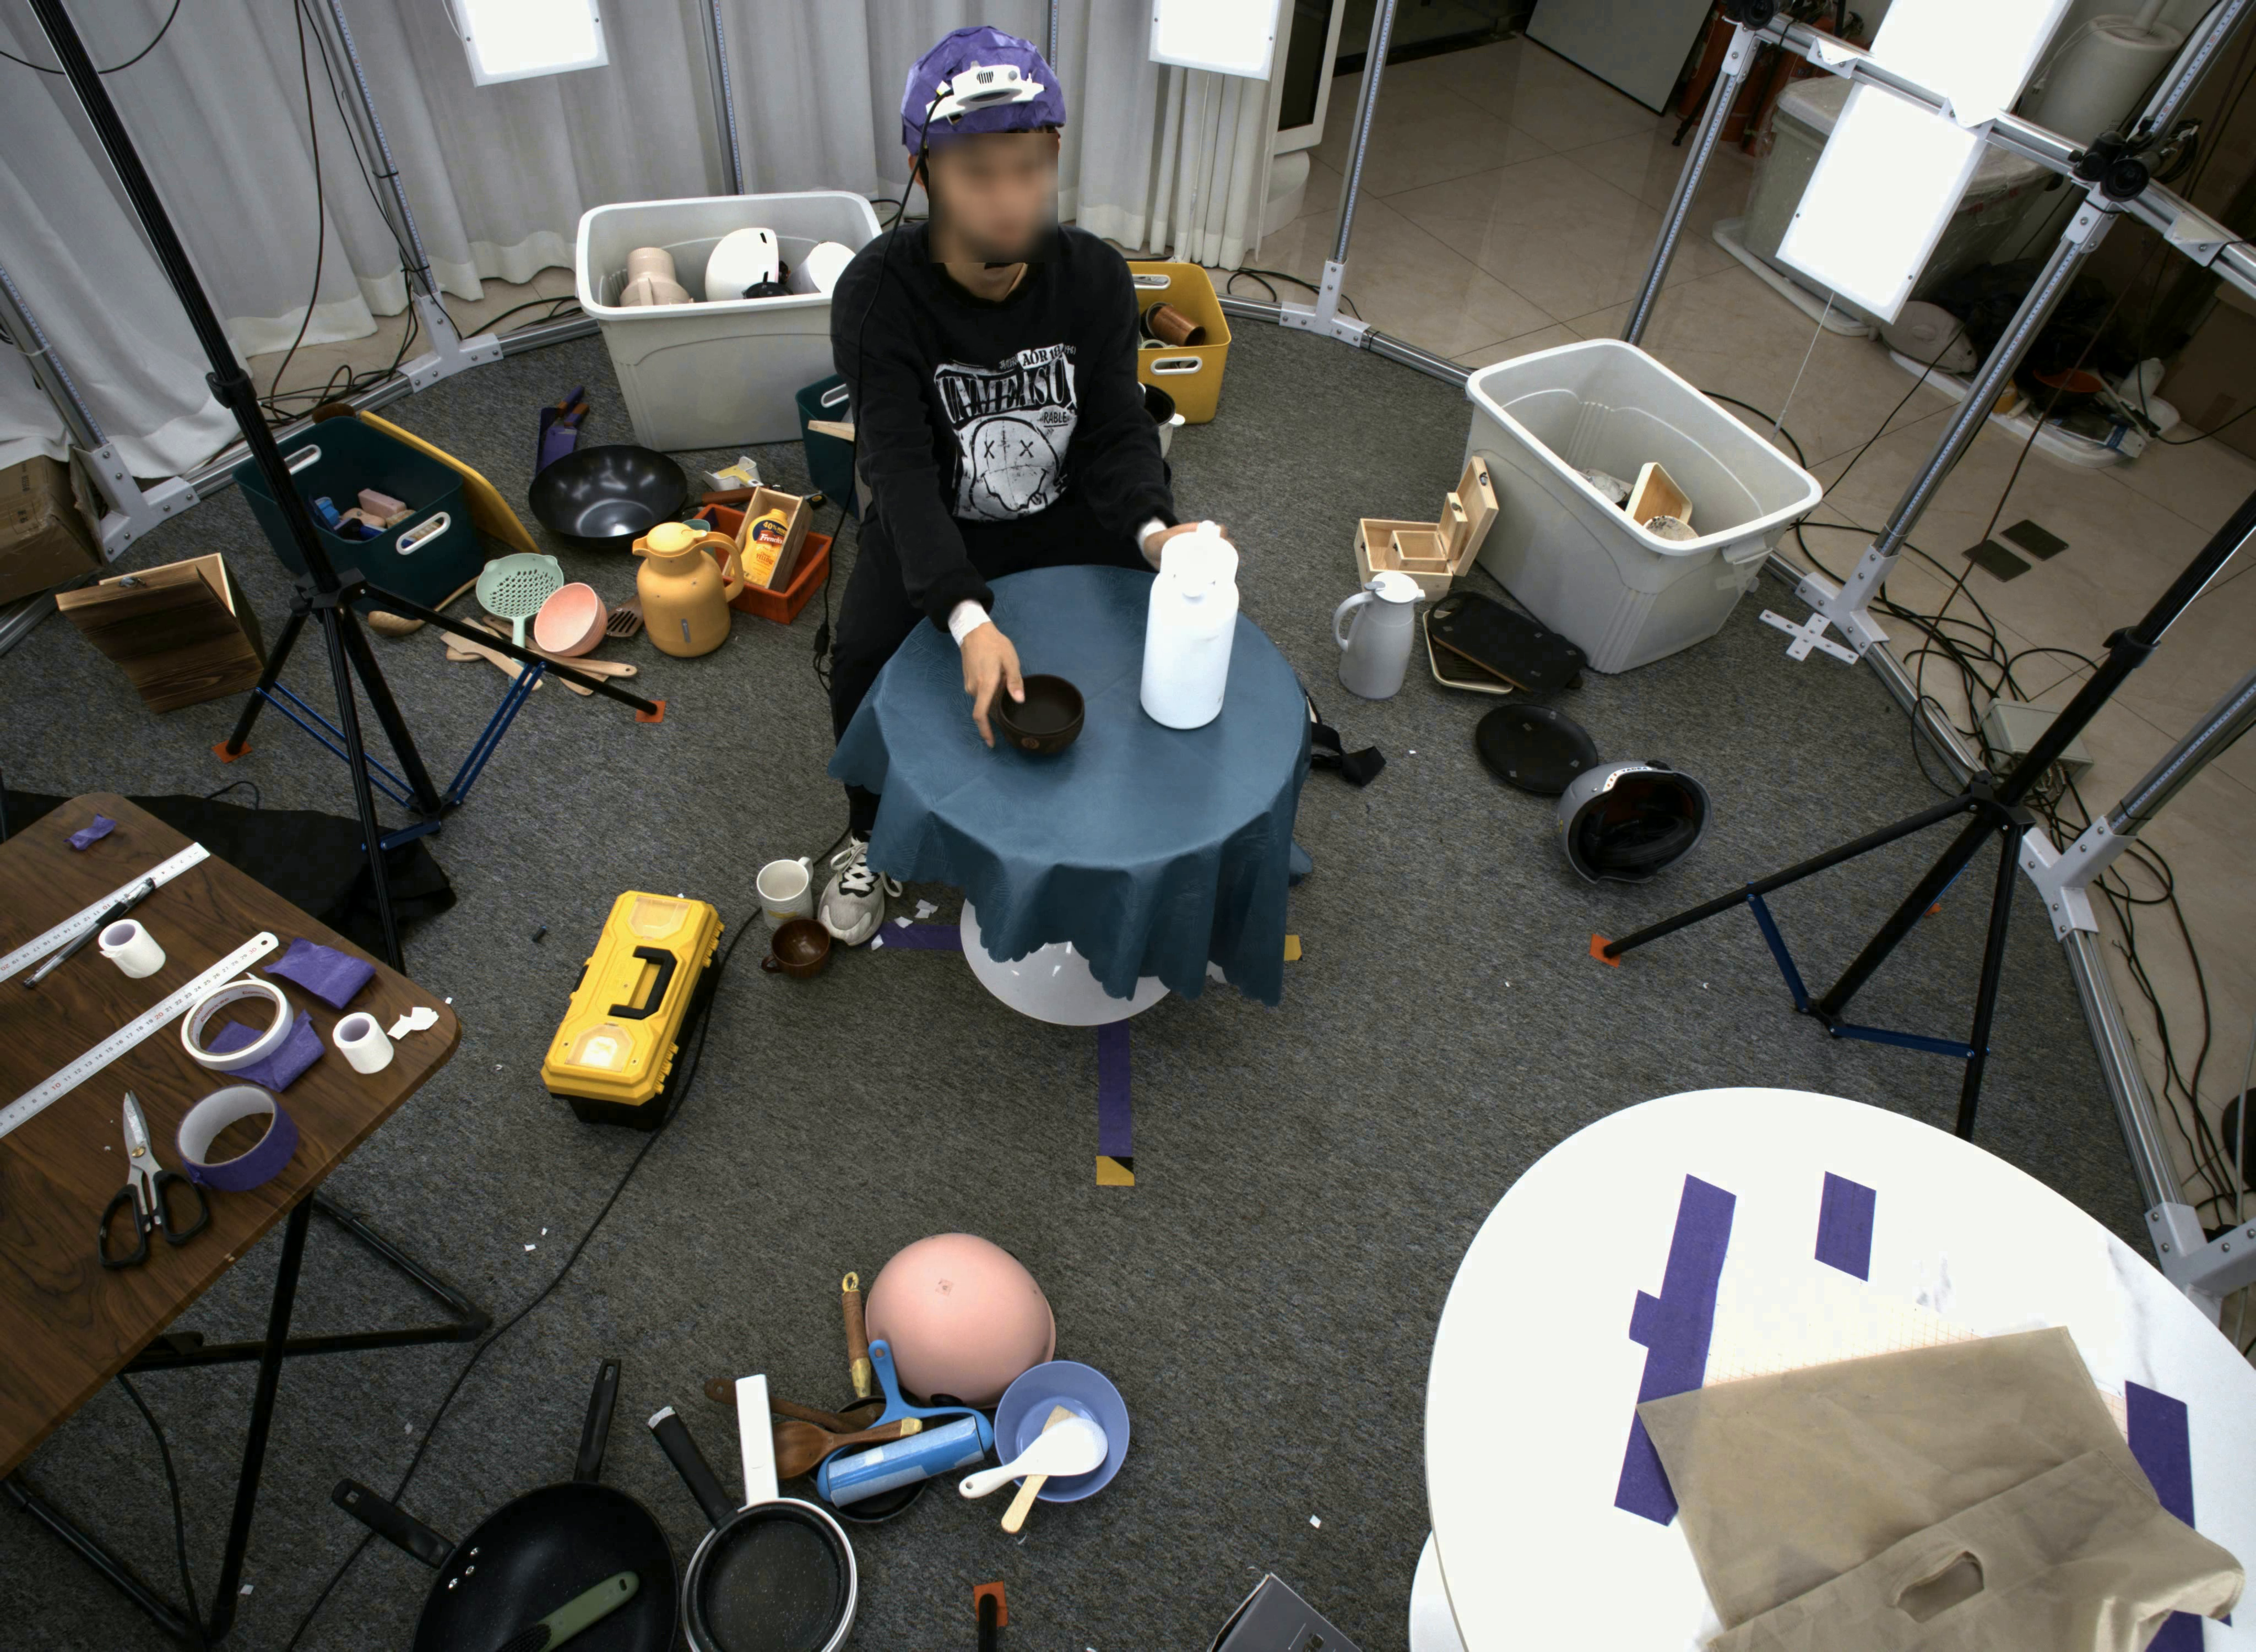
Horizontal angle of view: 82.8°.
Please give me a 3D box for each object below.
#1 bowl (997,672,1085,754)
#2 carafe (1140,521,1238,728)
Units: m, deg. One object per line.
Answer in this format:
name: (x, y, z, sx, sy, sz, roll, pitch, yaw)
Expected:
bowl: (-0.118, -0.144, 1.740, 0.118, 0.068, 0.121, 1, 49, -2)
carafe: (0.084, -0.274, 1.740, 0.124, 0.262, 0.177, 8, 50, 6)
